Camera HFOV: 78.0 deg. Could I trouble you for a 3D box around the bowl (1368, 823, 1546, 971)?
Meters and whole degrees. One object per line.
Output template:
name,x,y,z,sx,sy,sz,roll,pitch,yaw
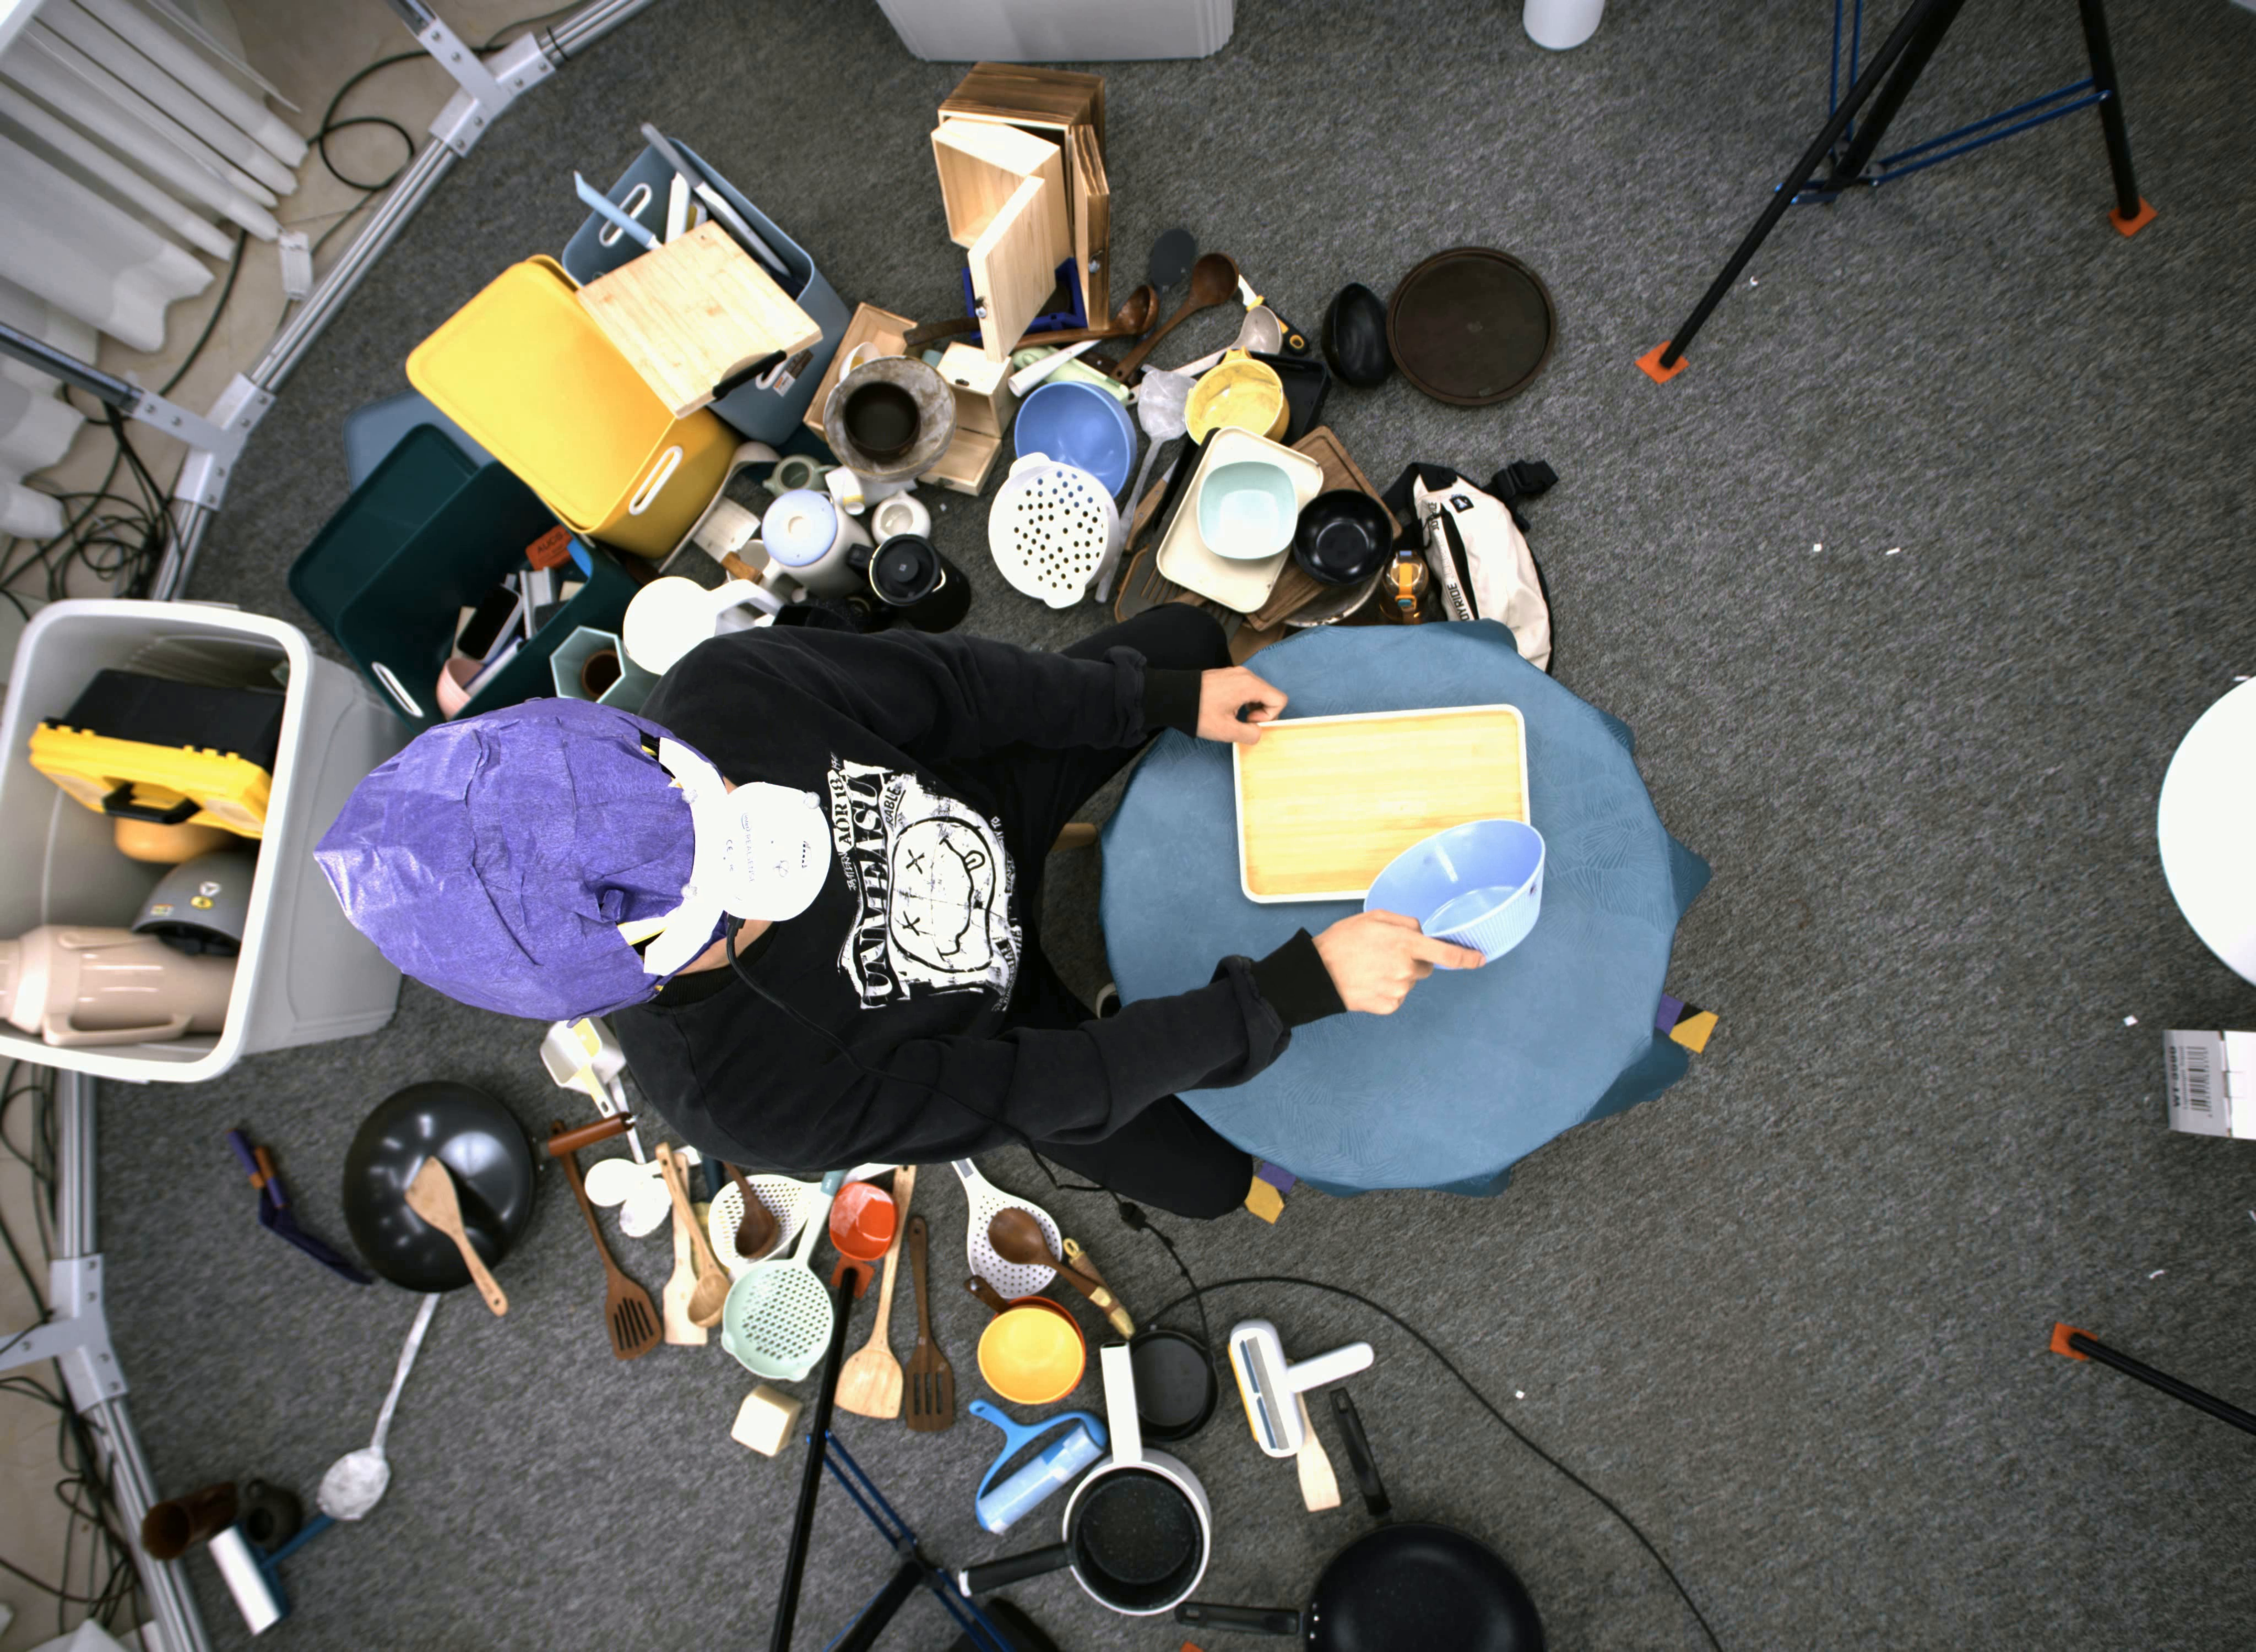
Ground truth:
bowl,0.316,0.073,1.282,0.177,0.173,0.071,-29,112,6

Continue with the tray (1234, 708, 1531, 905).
tray,0.266,-0.021,1.445,0.301,0.027,0.192,-3,95,10
